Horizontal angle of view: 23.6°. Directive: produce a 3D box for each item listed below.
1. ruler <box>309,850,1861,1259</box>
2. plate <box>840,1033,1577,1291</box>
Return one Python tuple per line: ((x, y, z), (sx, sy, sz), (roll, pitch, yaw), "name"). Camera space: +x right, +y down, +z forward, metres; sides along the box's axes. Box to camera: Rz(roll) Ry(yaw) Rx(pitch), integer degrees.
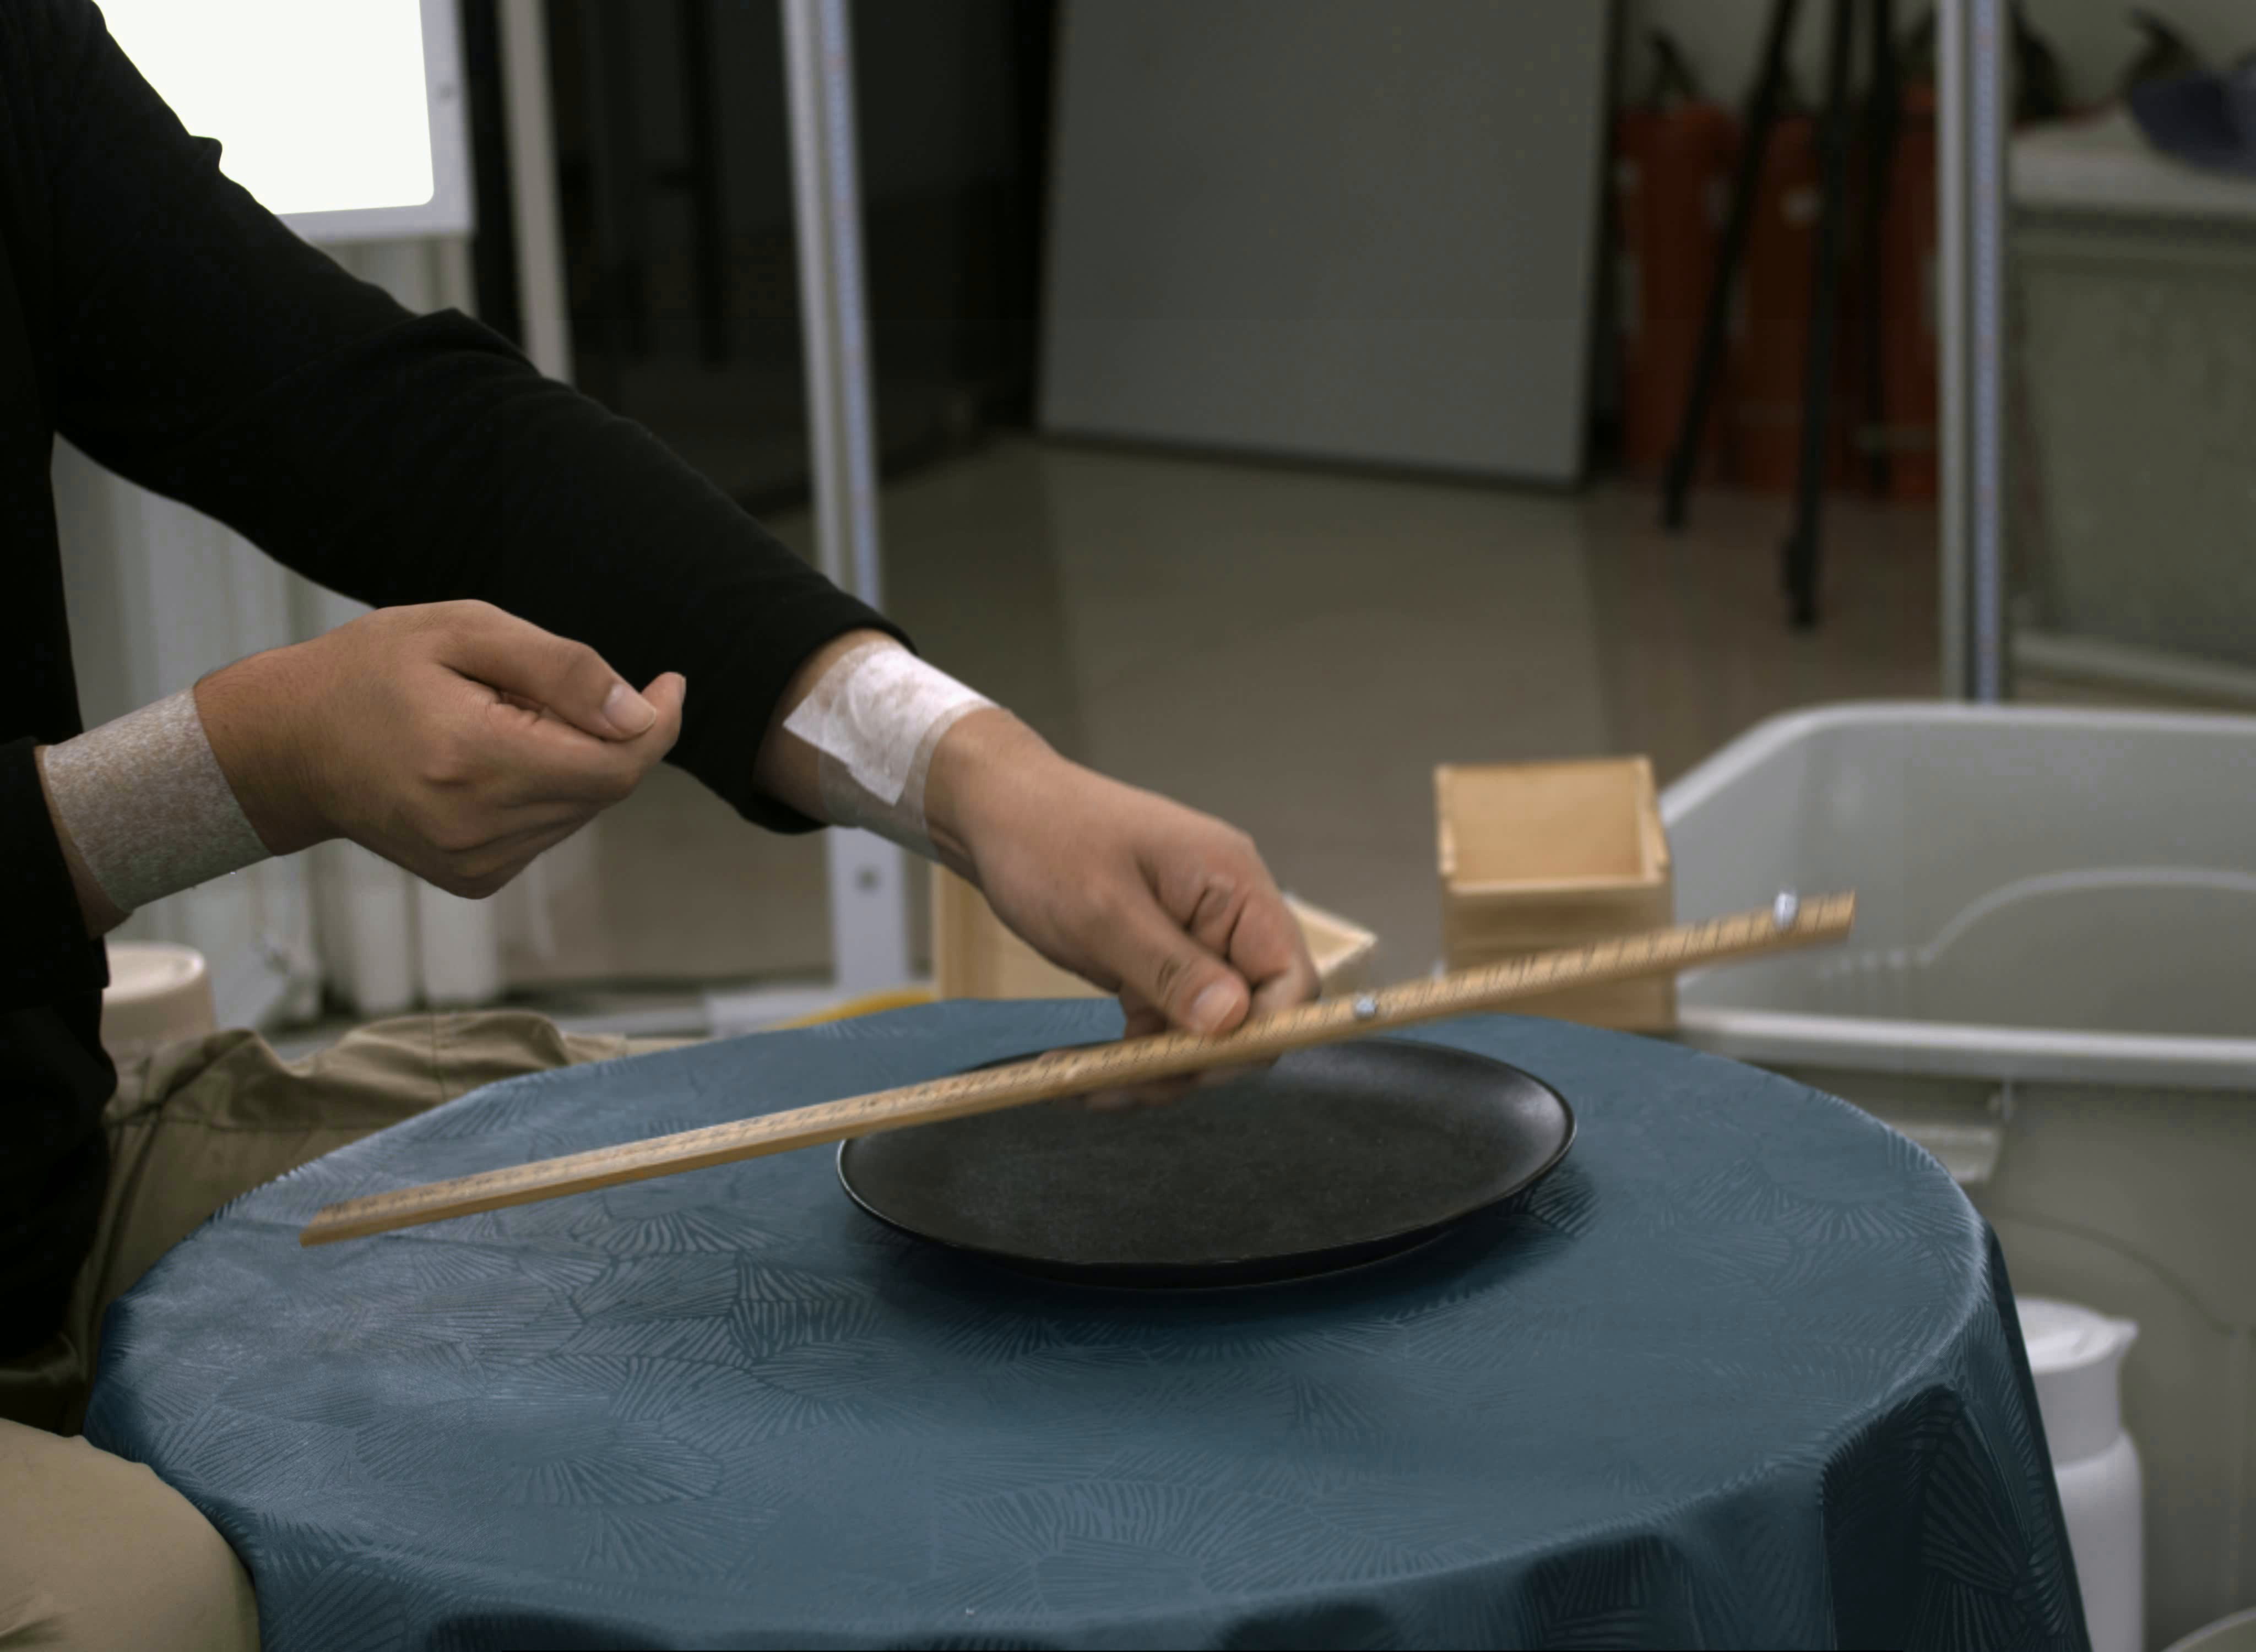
((-0.022, 0.070, 1.606), (0.499, 0.006, 0.026), (-14, 14, 19), "ruler")
((0.027, 0.111, 1.752), (0.241, 0.024, 0.245), (-4, 14, 0), "plate")
